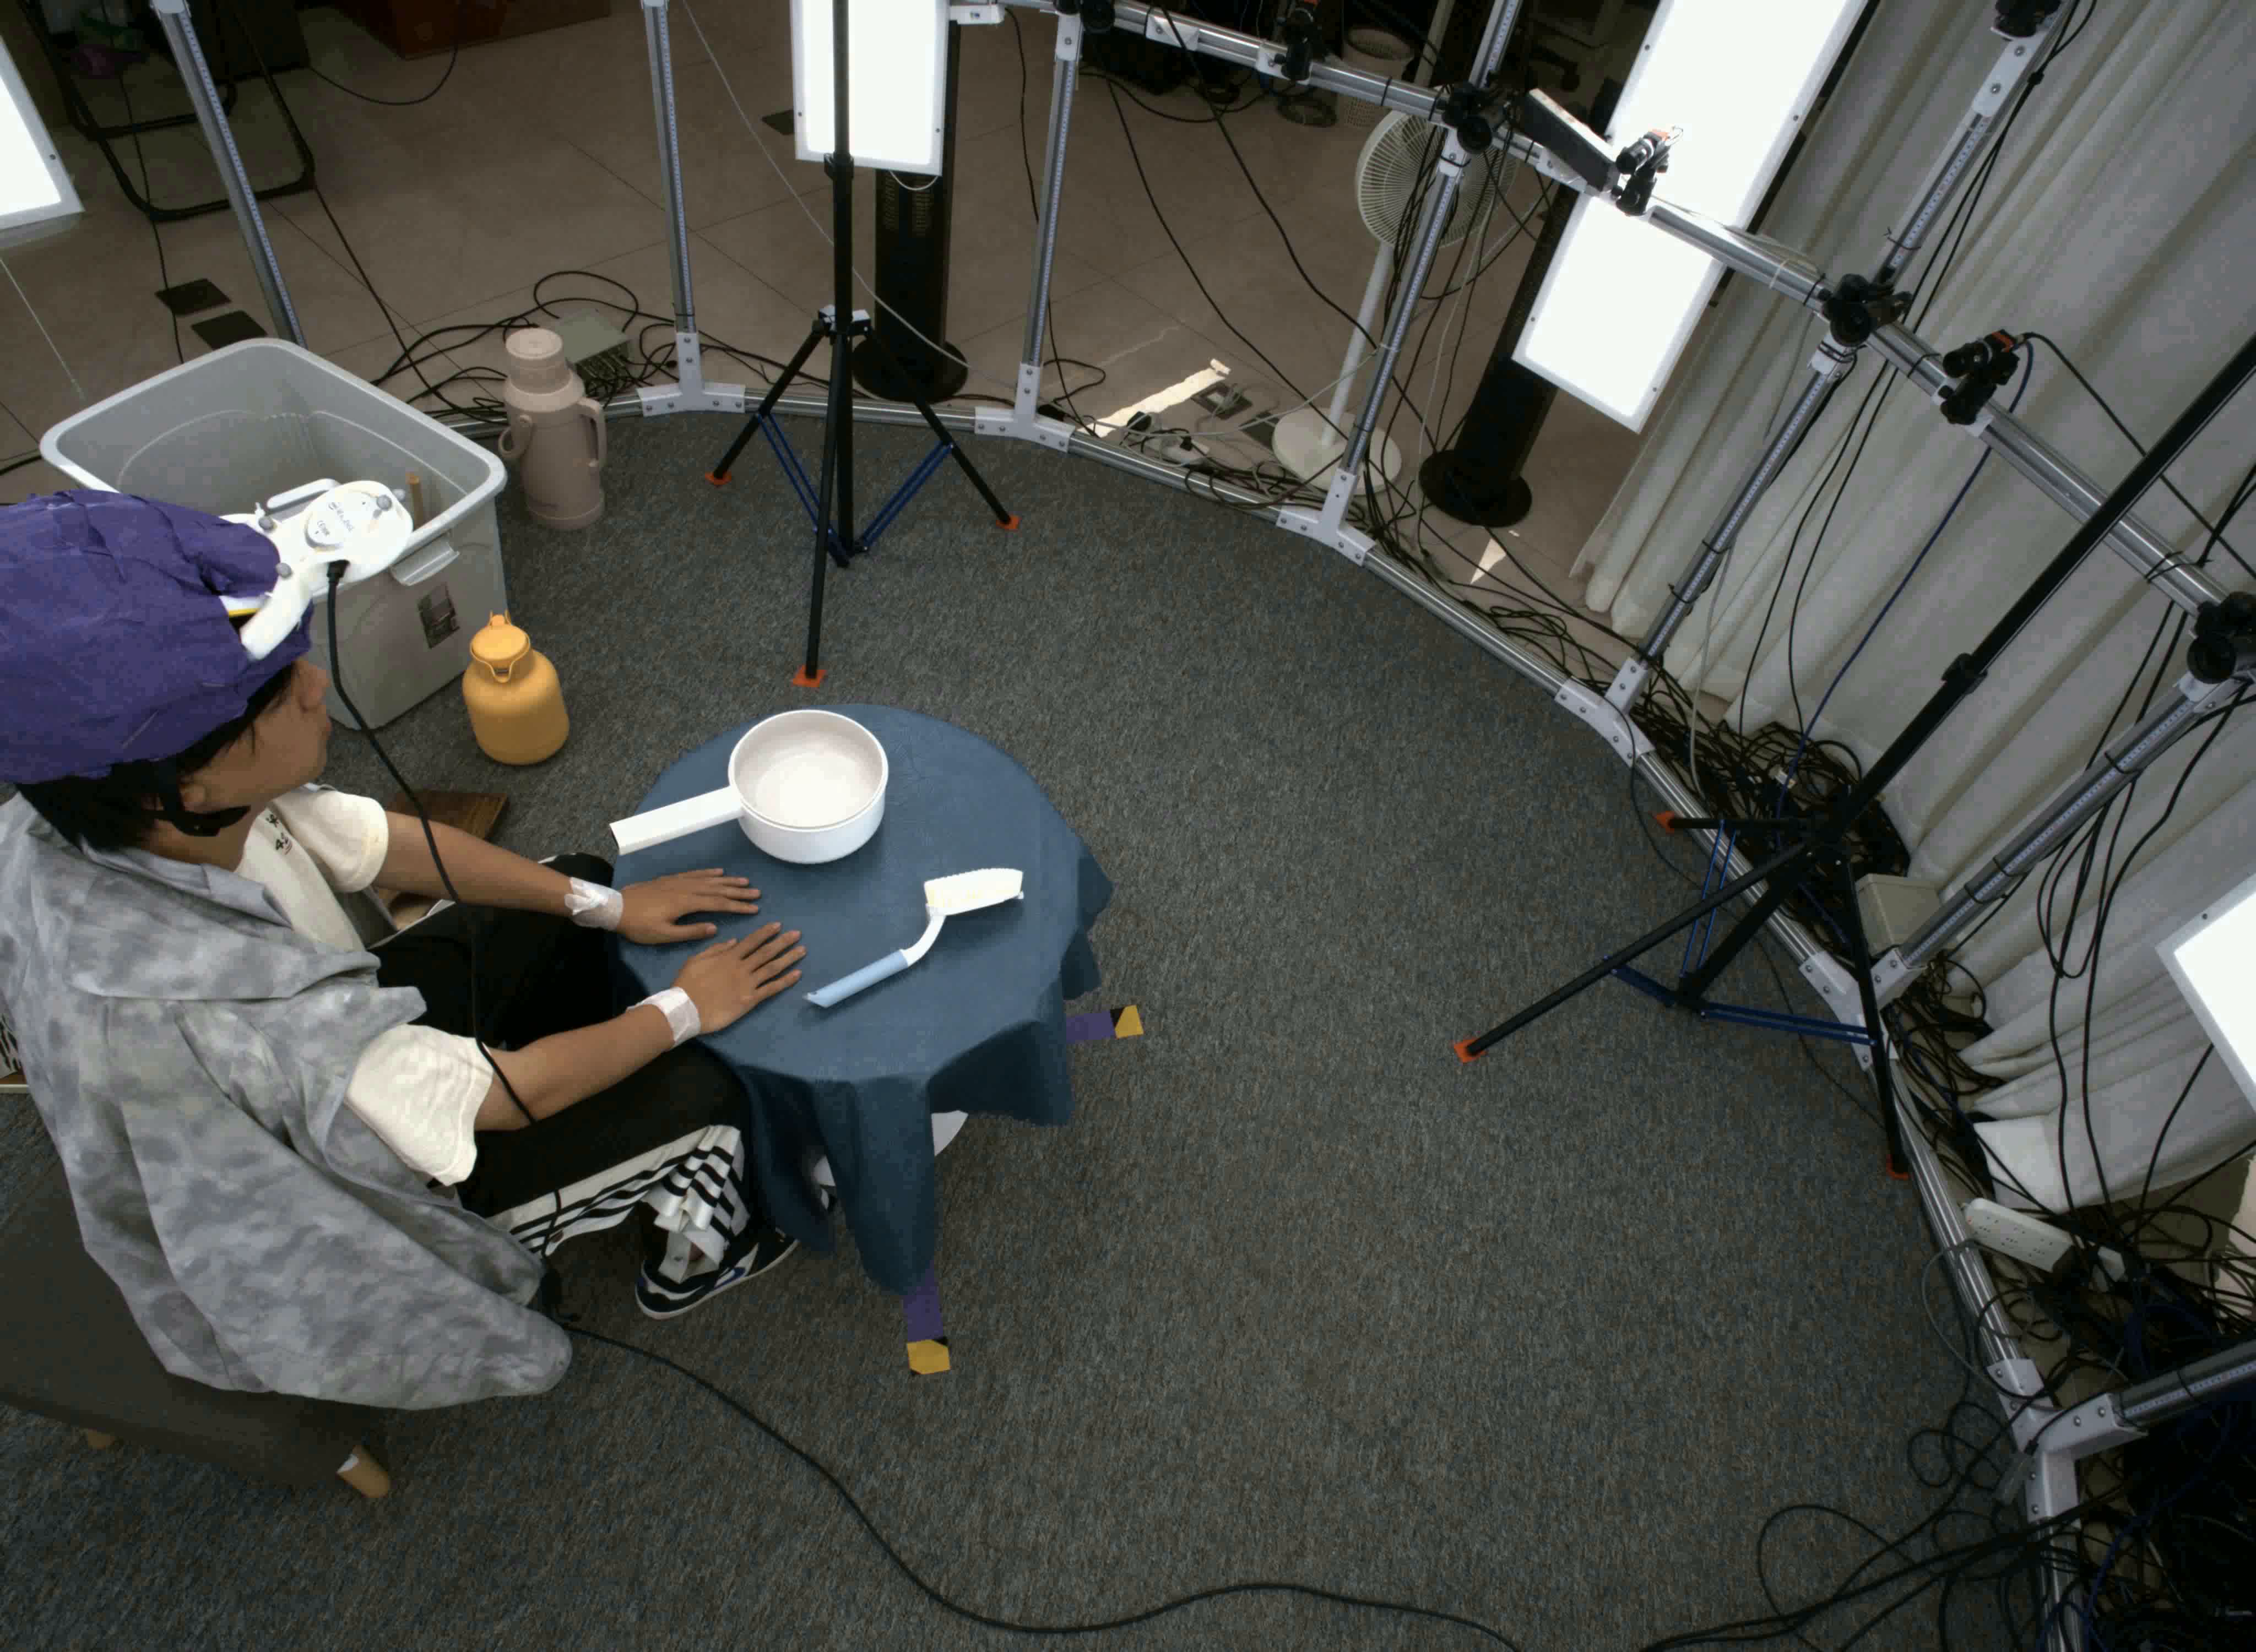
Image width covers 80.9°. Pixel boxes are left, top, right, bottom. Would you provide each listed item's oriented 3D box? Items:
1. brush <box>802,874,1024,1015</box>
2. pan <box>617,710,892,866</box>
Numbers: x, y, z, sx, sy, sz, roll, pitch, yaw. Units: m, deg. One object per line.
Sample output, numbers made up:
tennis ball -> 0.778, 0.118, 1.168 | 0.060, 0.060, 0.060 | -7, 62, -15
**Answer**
brush -> -0.268, 0.123, 1.620 | 0.327, 0.084, 0.083 | -26, 68, -30
pan -> -0.475, -0.020, 1.666 | 0.356, 0.104, 0.196 | -22, 62, -26
